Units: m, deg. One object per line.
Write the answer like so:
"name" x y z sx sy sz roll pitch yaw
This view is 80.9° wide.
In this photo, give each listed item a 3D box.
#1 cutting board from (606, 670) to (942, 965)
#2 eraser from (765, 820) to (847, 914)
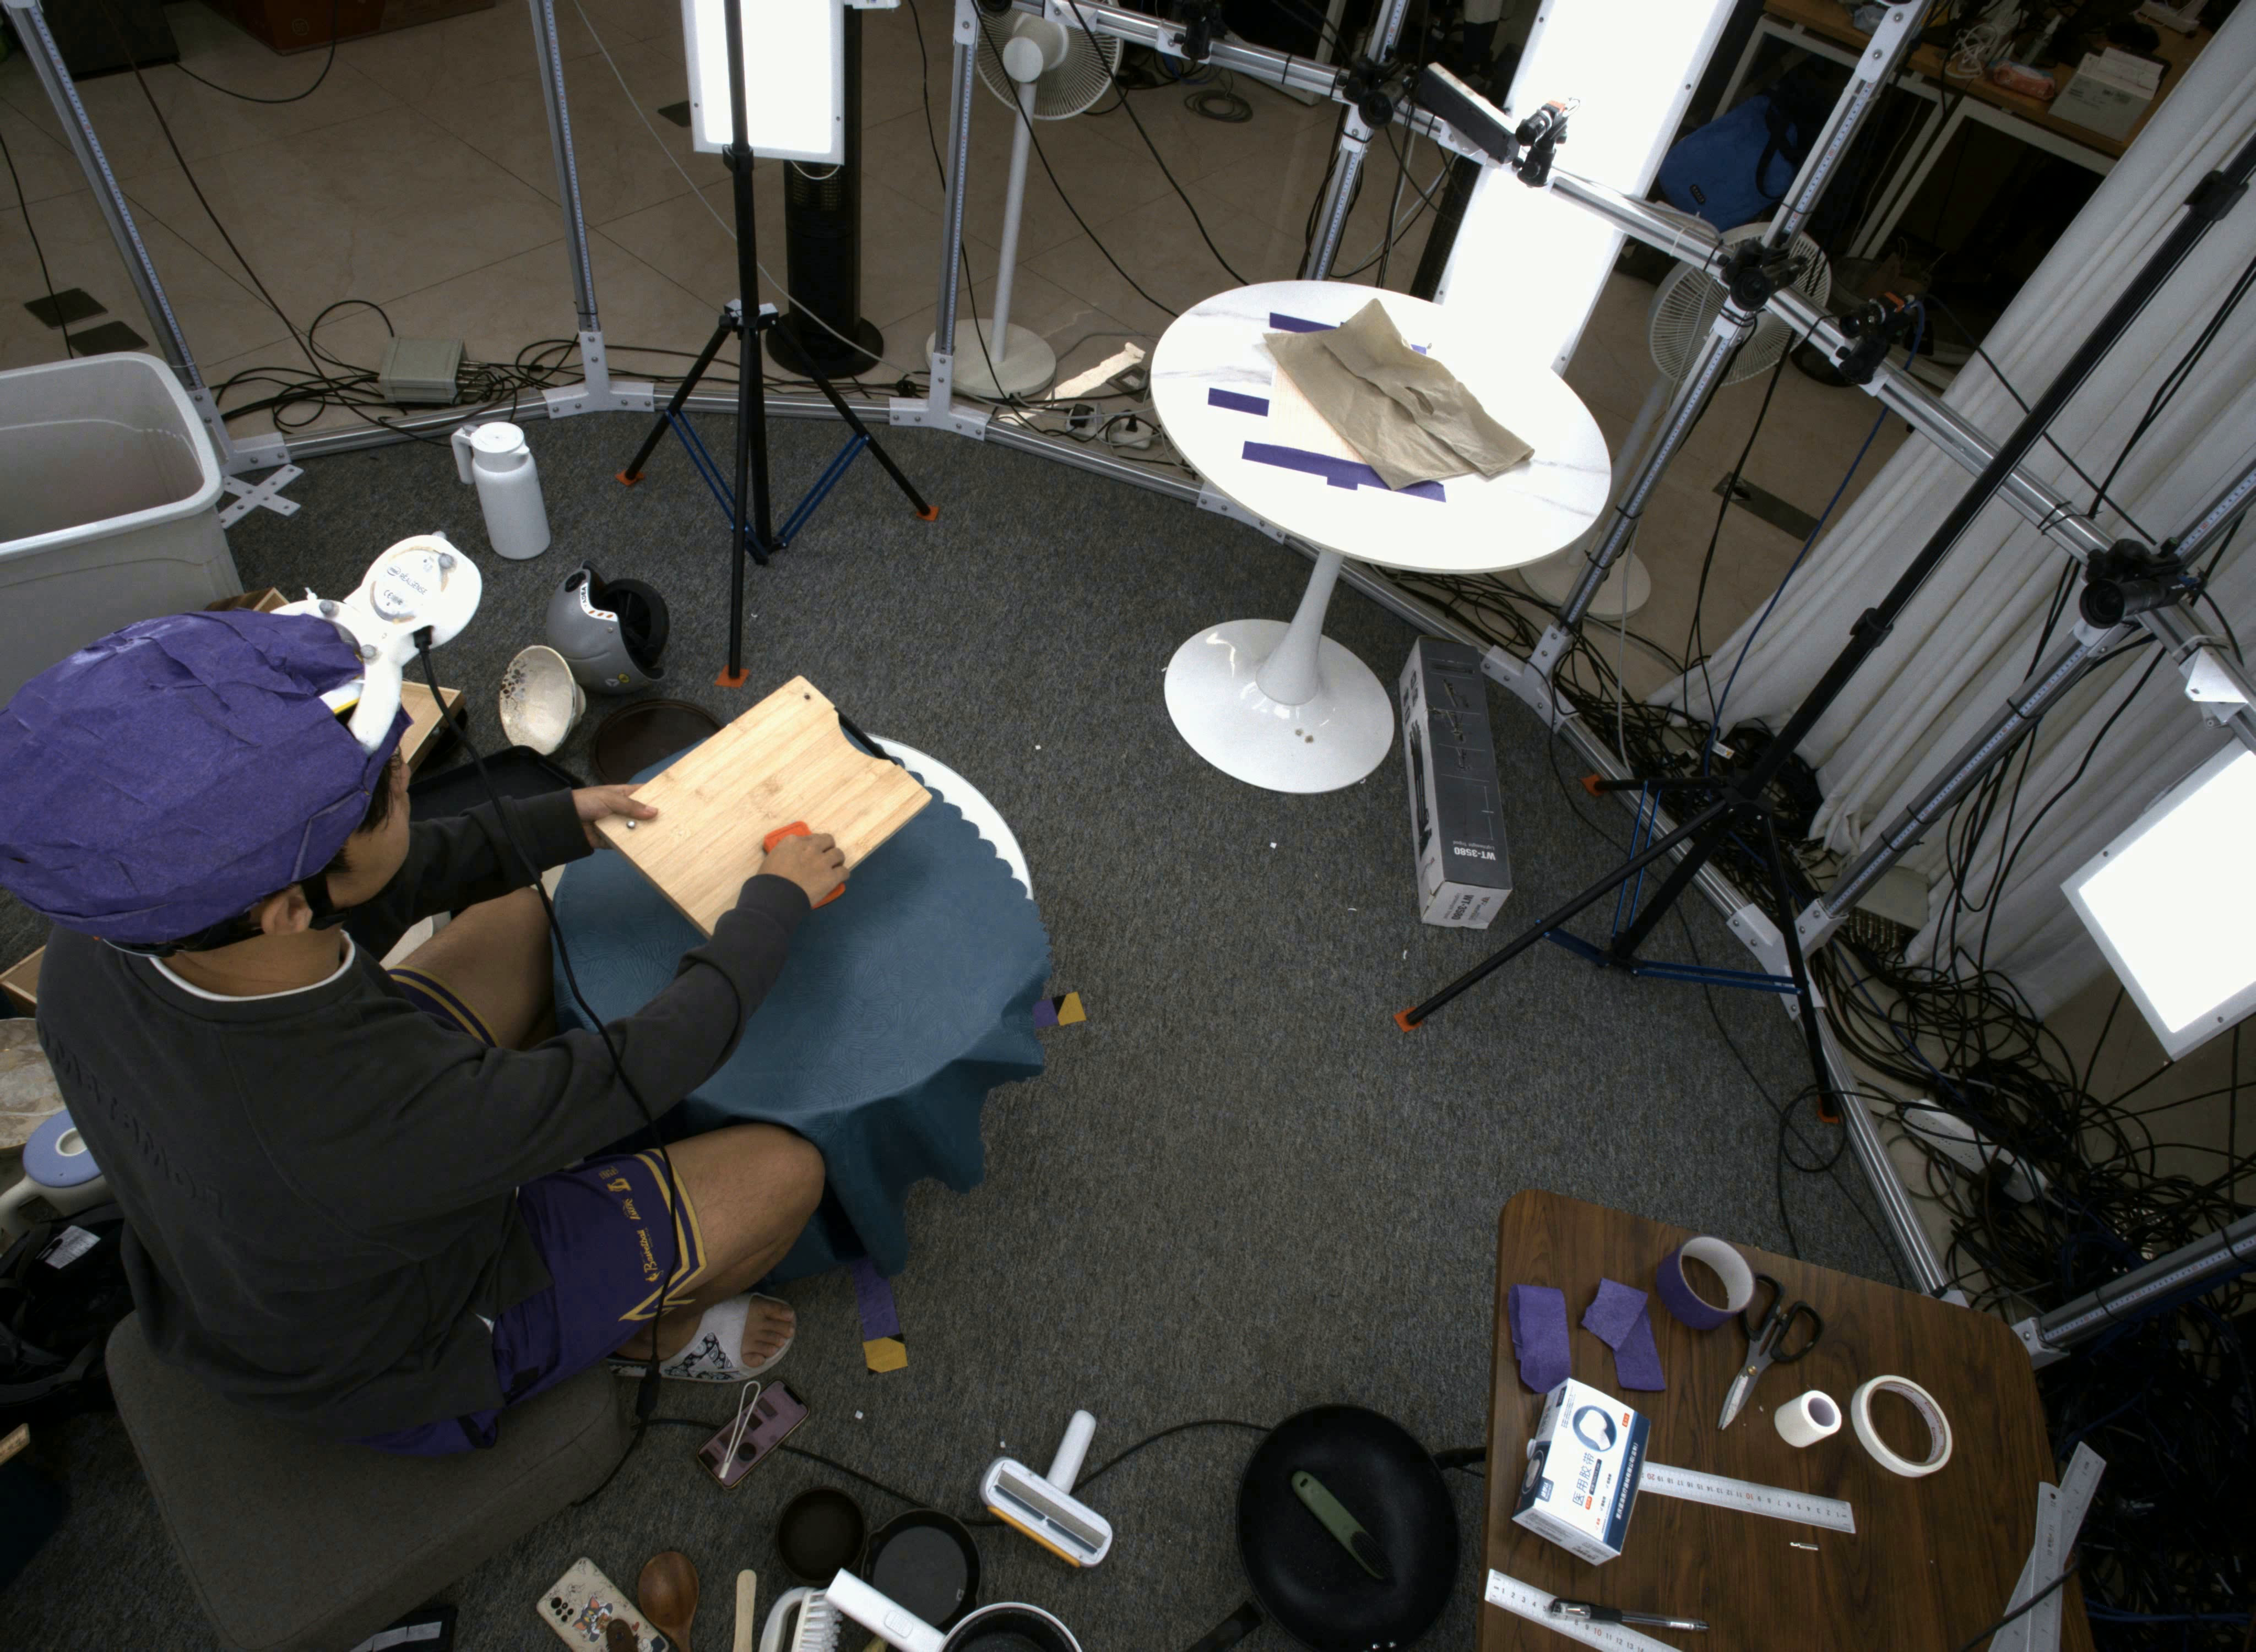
"cutting board" -0.431 -0.022 1.592 0.250 0.023 0.348 43 54 1
"eraser" -0.386 0.047 1.550 0.059 0.023 0.107 -28 77 -33
